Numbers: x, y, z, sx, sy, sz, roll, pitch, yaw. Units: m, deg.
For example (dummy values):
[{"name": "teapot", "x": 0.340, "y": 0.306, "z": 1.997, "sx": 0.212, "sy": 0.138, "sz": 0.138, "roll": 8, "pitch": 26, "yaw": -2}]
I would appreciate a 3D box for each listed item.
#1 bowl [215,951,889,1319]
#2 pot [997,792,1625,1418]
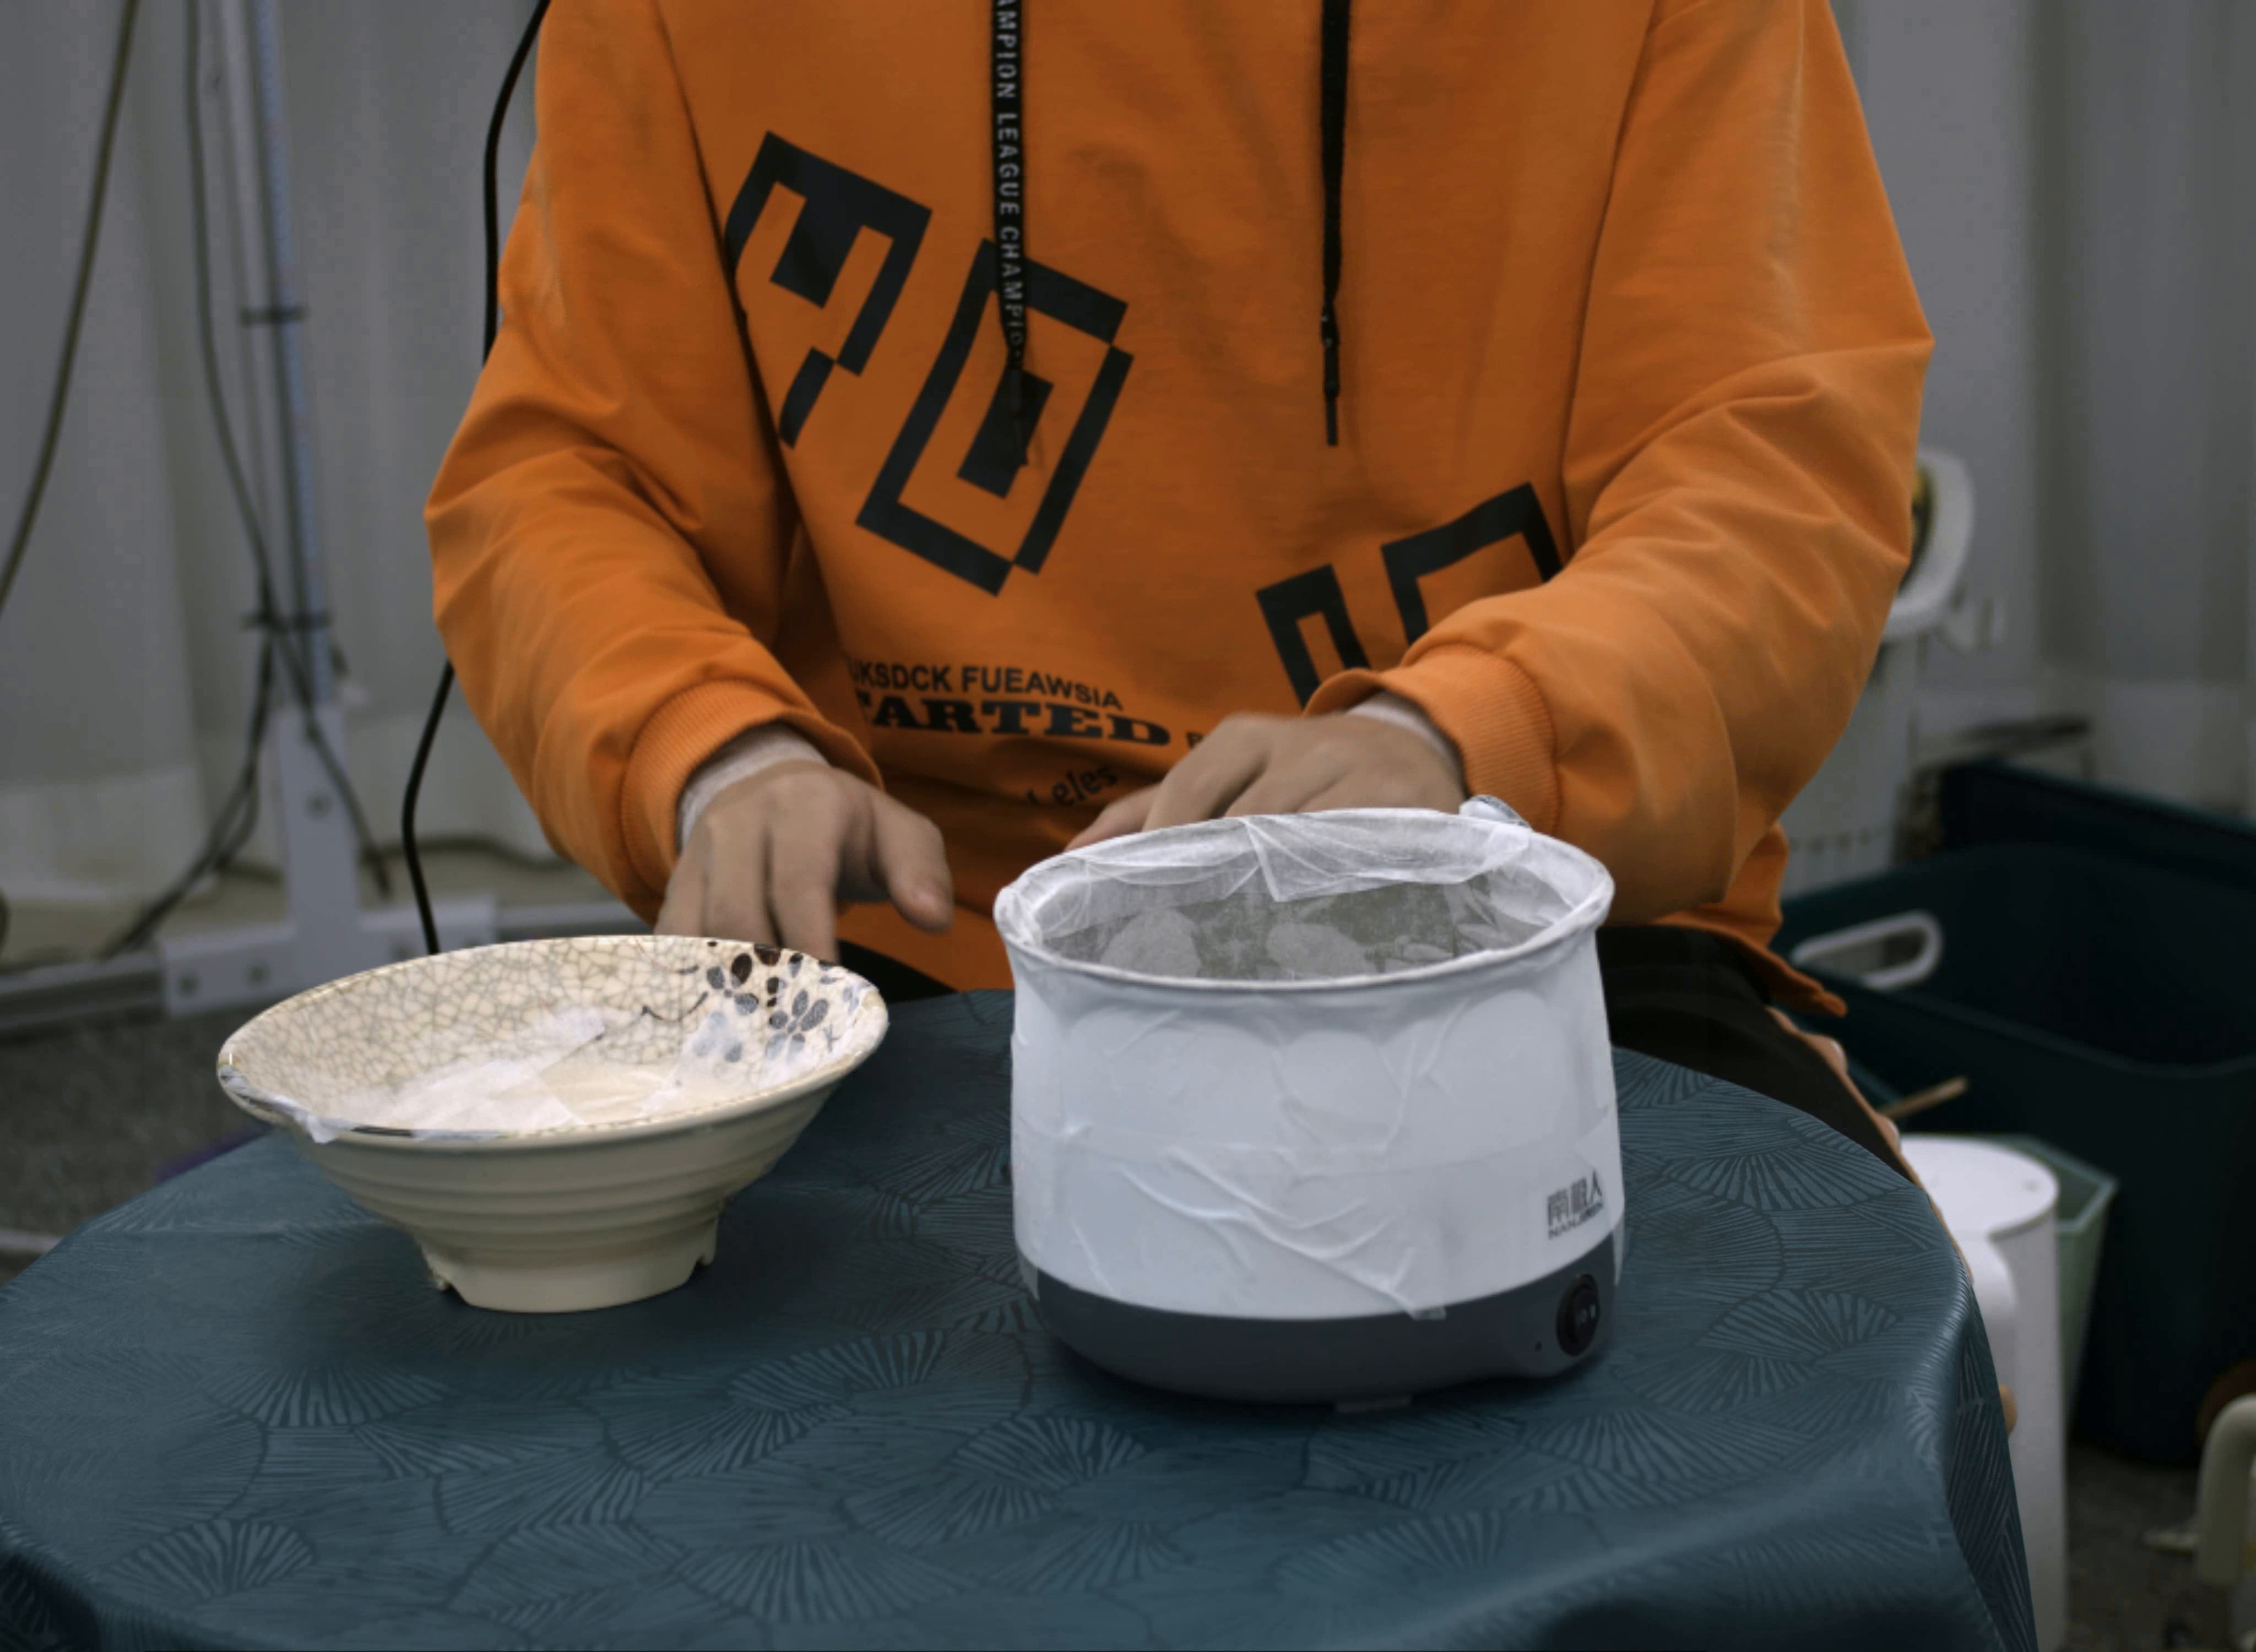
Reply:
[{"name": "bowl", "x": -0.172, "y": 0.100, "z": 1.663, "sx": 0.203, "sy": 0.078, "sz": 0.205, "roll": -3, "pitch": 12, "yaw": 0}, {"name": "pot", "x": 0.068, "y": 0.073, "z": 1.592, "sx": 0.179, "sy": 0.136, "sz": 0.234, "roll": 7, "pitch": 18, "yaw": 33}]
